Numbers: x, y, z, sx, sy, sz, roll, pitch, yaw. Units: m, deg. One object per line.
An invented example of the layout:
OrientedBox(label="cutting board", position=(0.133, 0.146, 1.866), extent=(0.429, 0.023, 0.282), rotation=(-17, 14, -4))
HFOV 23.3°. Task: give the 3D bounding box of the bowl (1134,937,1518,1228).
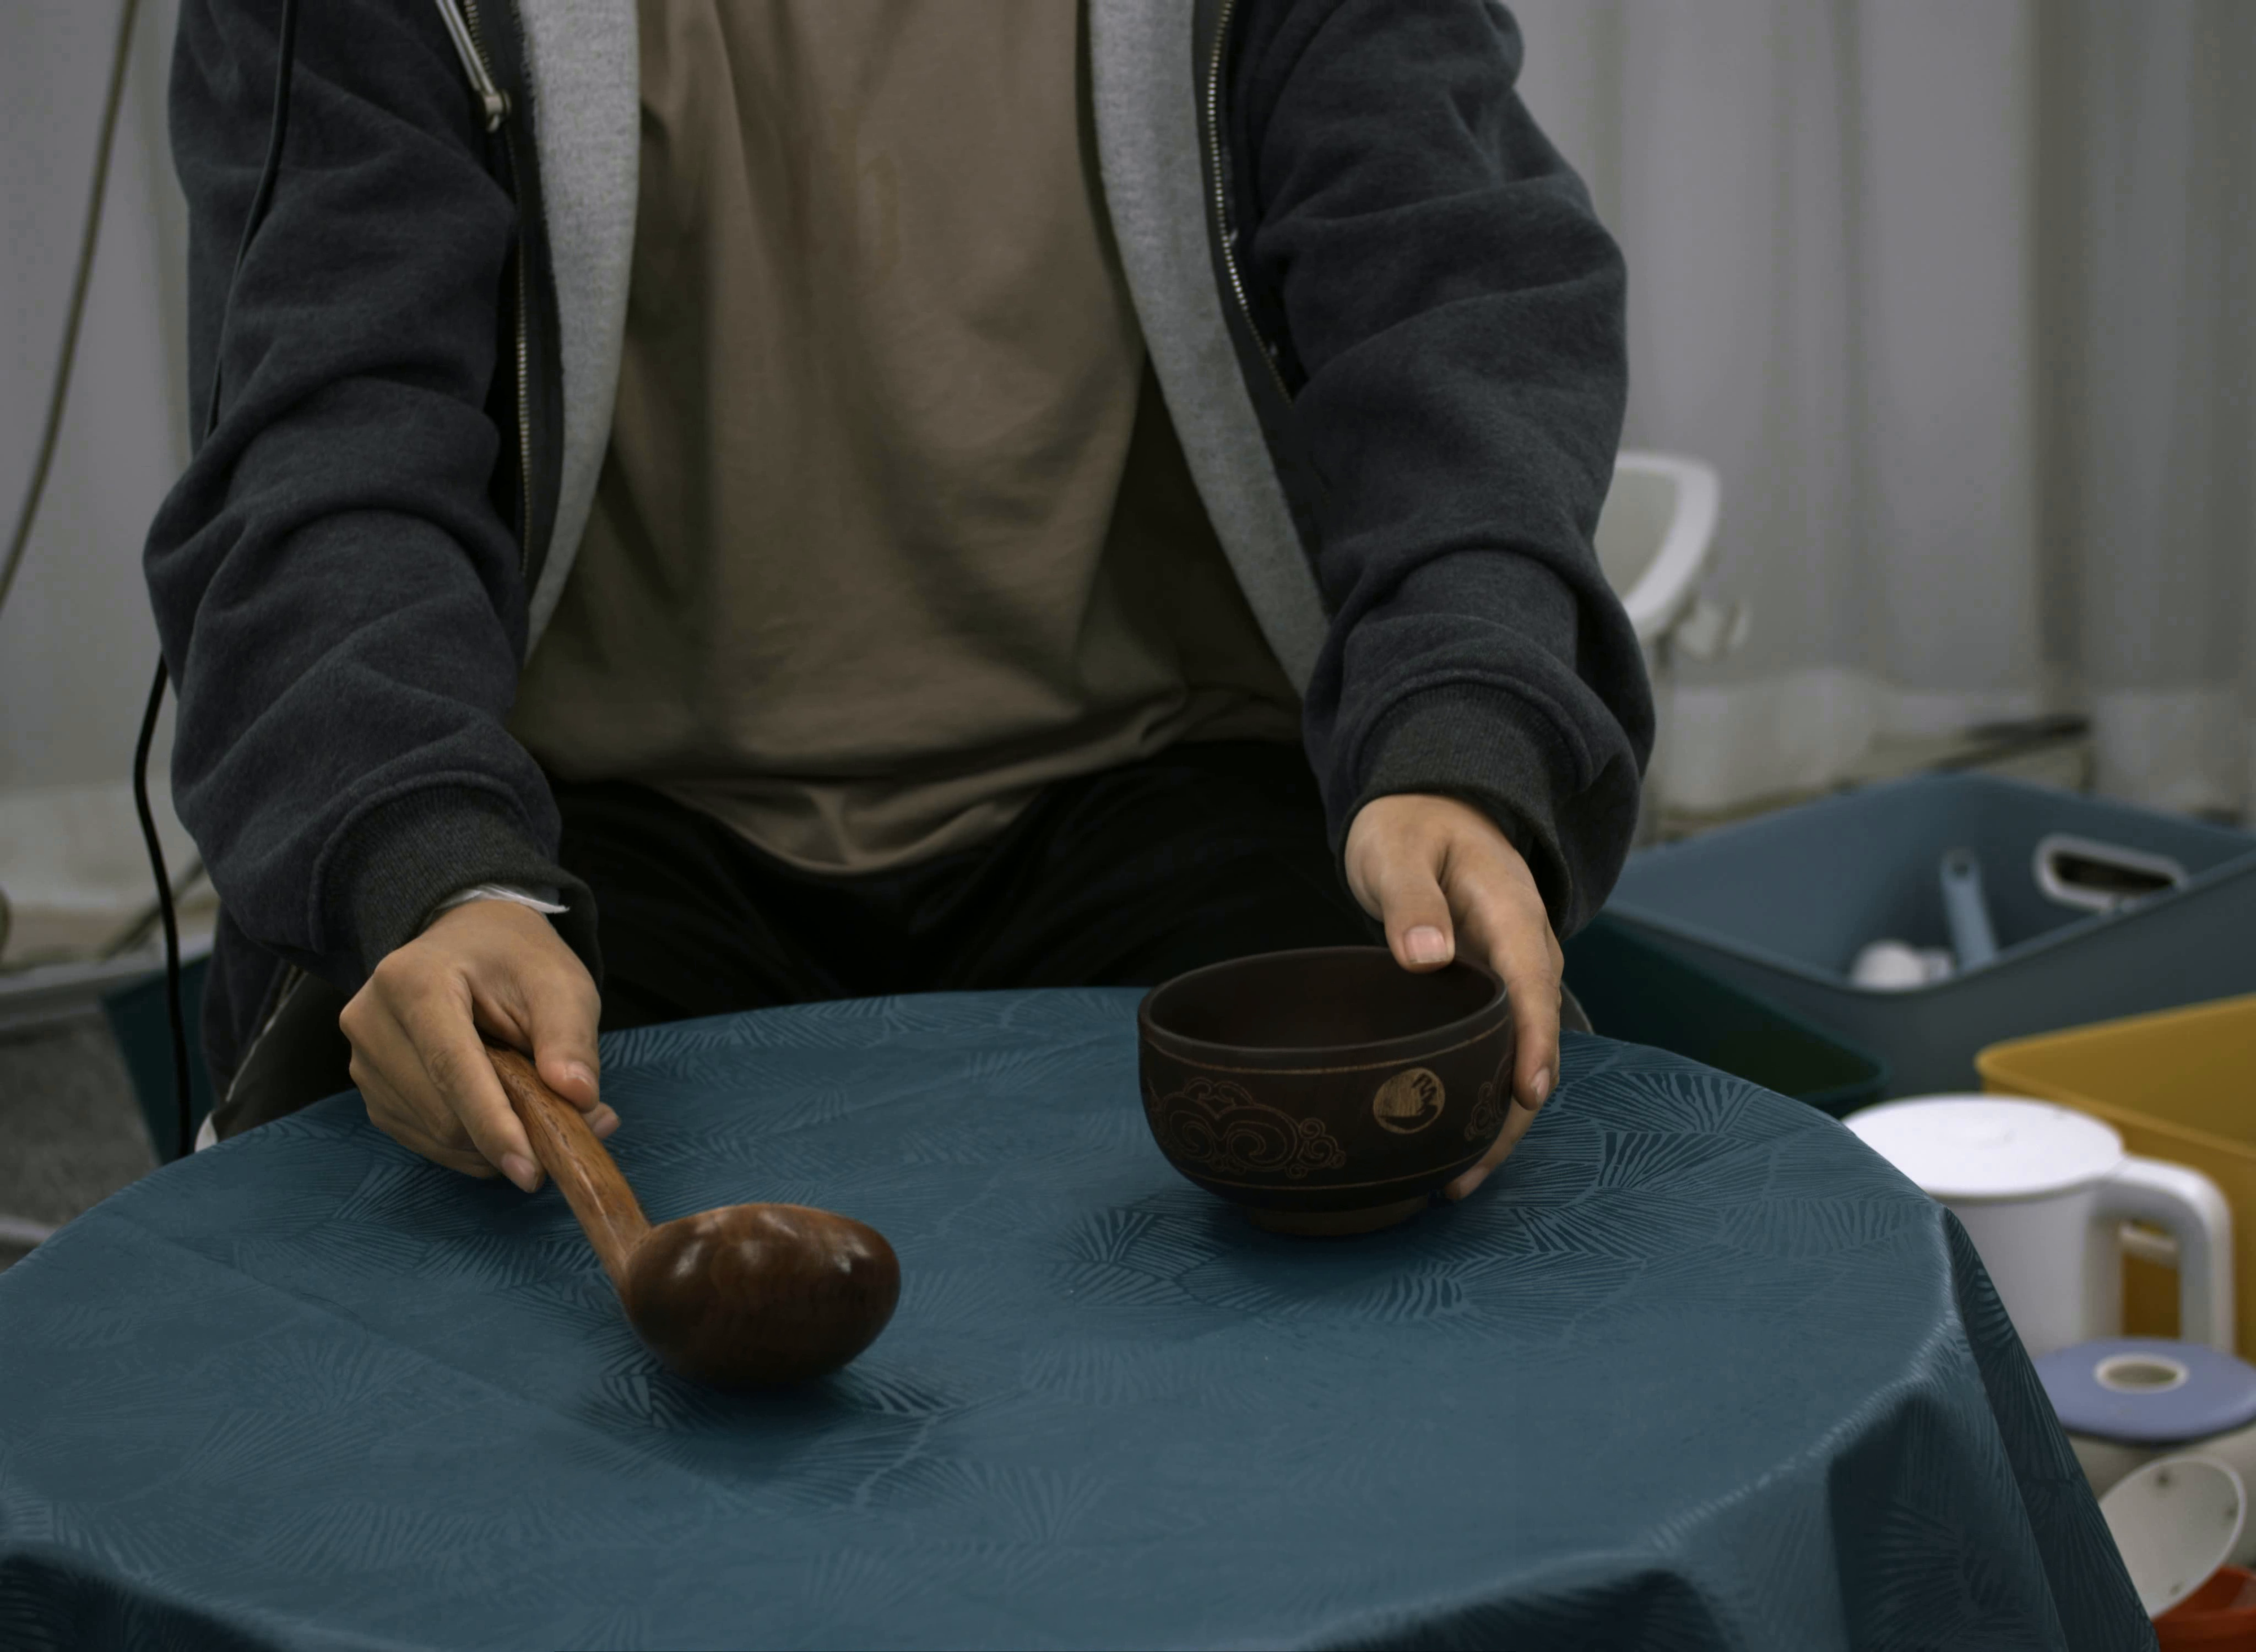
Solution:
OrientedBox(label="bowl", position=(0.062, 0.082, 1.678), extent=(0.117, 0.069, 0.119), rotation=(-5, 13, 1))

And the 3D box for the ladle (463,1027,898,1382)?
OrientedBox(label="ladle", position=(-0.145, 0.091, 1.637), extent=(0.081, 0.076, 0.277), rotation=(20, 13, -28))
